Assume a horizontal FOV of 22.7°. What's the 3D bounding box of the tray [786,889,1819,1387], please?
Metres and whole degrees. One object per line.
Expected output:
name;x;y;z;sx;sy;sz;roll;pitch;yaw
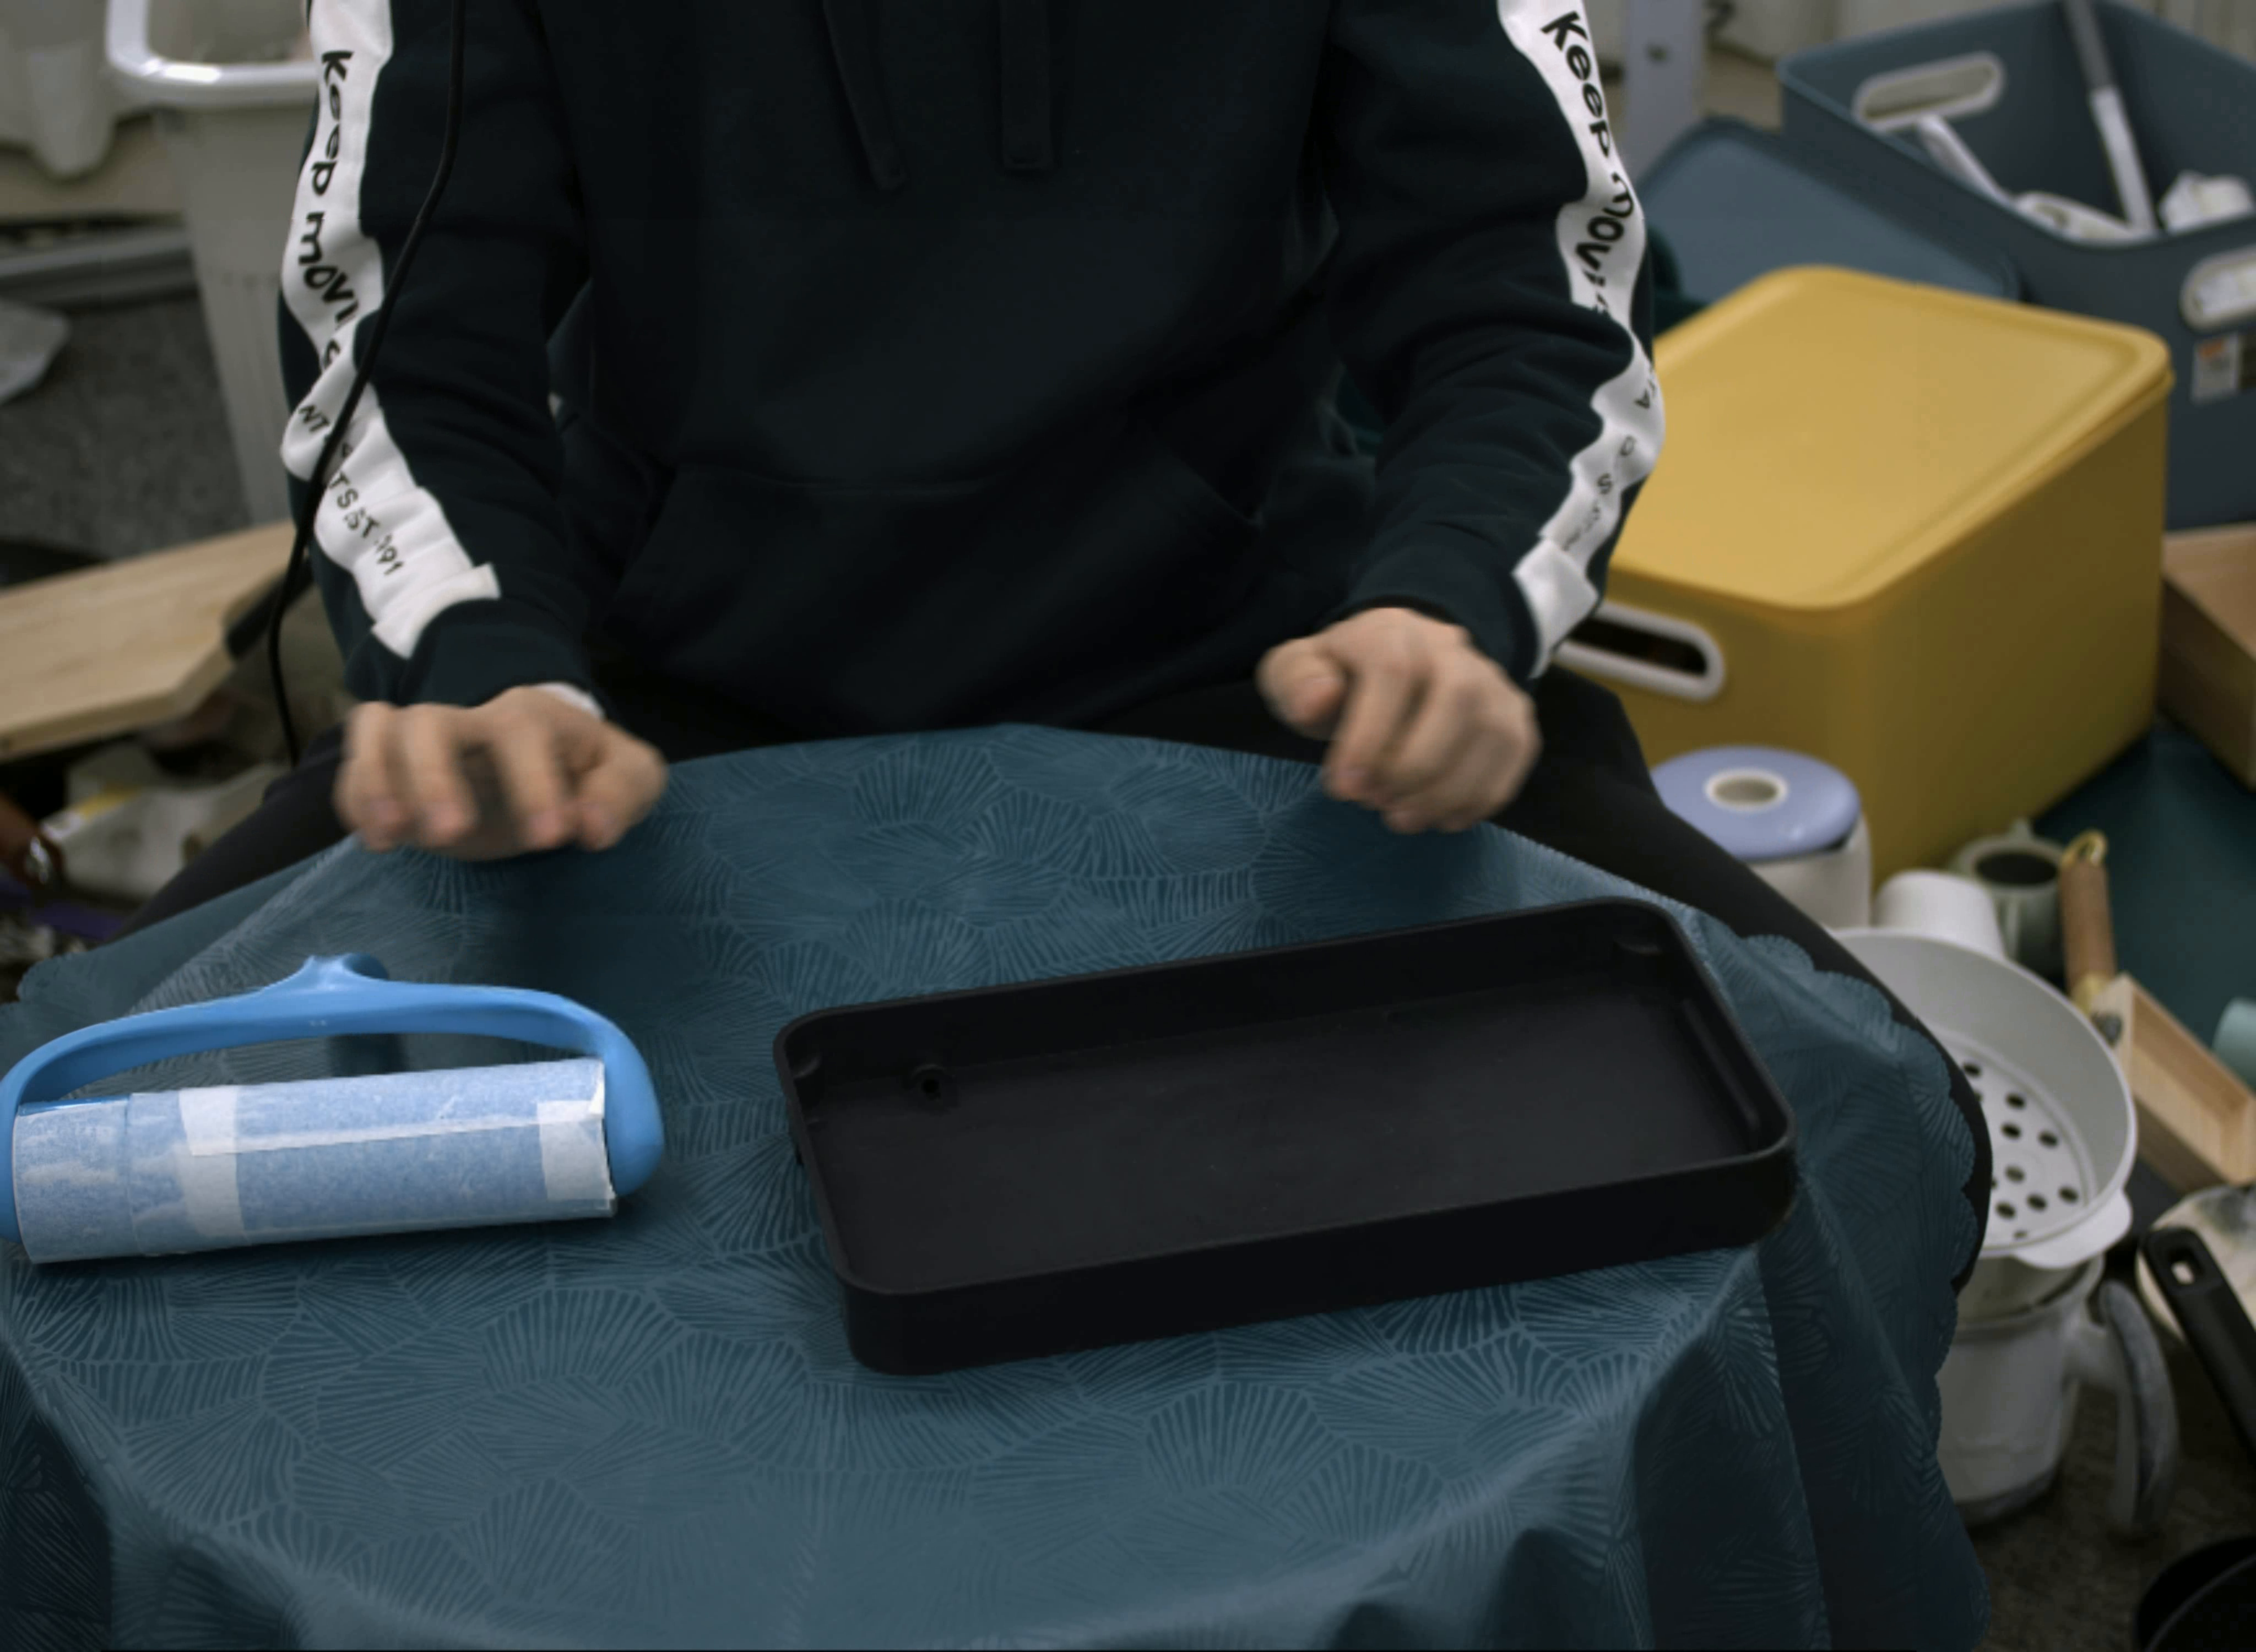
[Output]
tray;0.055;0.100;1.860;0.318;0.036;0.186;-10;28;-10

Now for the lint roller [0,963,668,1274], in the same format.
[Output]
lint roller;-0.272;0.082;1.902;0.228;0.067;0.183;-7;29;-4
